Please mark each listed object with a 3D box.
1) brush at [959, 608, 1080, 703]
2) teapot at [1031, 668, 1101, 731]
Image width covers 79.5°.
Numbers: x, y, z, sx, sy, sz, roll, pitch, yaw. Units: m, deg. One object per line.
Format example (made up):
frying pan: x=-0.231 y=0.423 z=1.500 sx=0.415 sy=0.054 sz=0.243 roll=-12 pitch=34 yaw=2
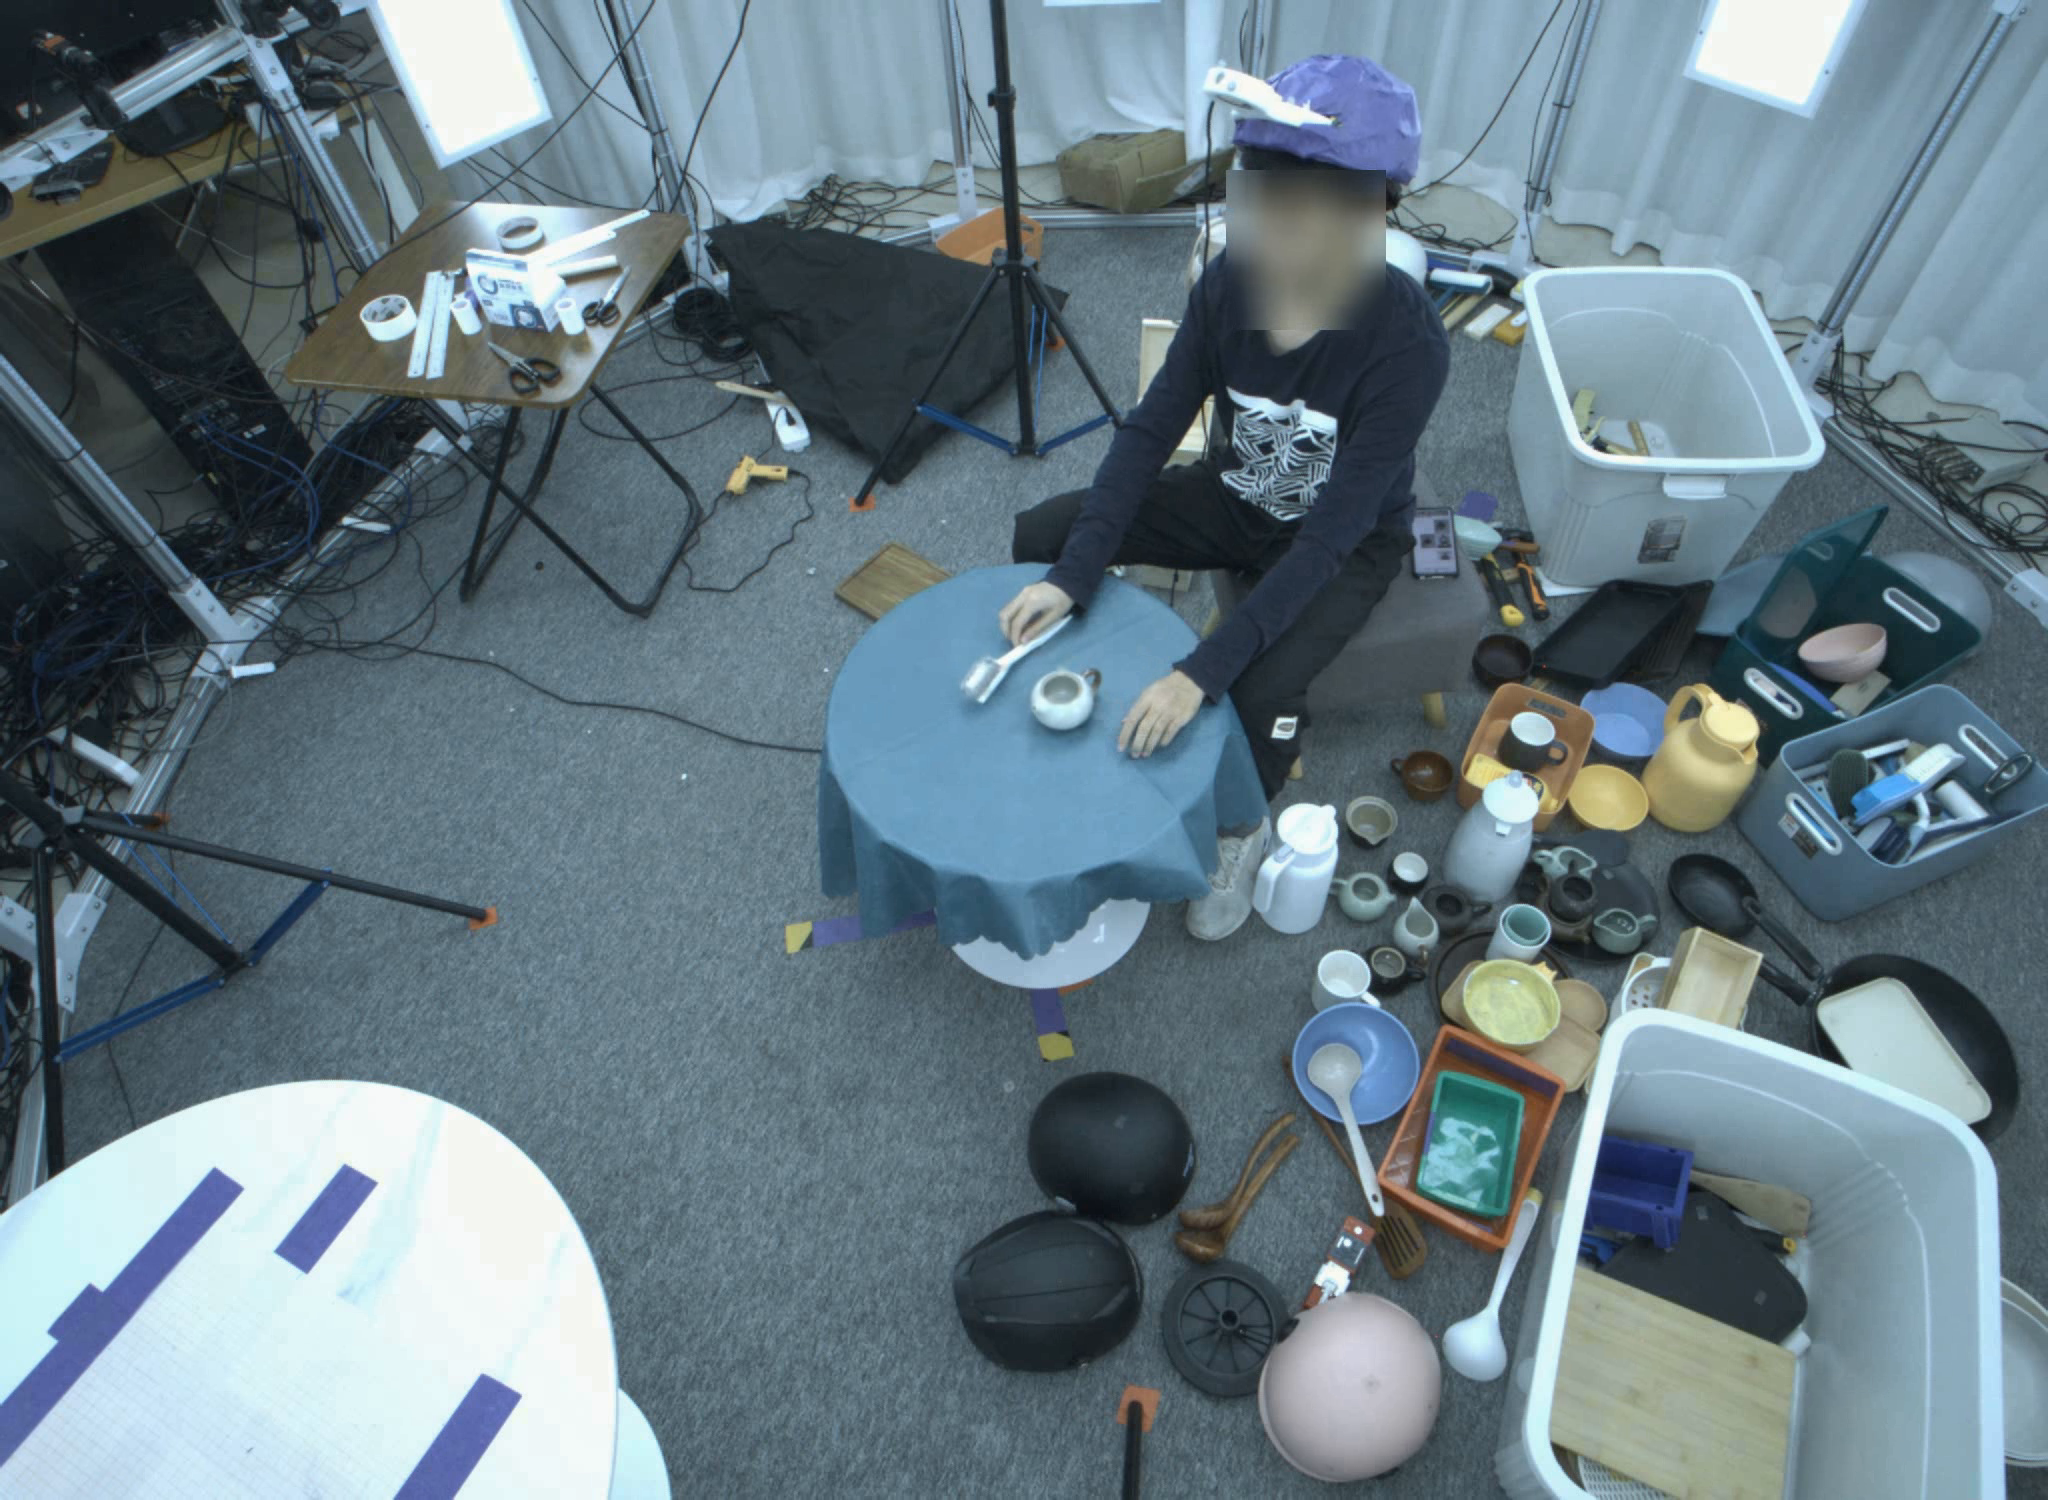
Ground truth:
brush: x=-0.004 y=-0.157 z=1.862 sx=0.033 sy=0.051 sz=0.245 roll=33 pitch=62 yaw=32
teapot: x=0.063 y=-0.076 z=1.797 sx=0.129 sy=0.060 sz=0.090 roll=-37 pitch=57 yaw=-20
